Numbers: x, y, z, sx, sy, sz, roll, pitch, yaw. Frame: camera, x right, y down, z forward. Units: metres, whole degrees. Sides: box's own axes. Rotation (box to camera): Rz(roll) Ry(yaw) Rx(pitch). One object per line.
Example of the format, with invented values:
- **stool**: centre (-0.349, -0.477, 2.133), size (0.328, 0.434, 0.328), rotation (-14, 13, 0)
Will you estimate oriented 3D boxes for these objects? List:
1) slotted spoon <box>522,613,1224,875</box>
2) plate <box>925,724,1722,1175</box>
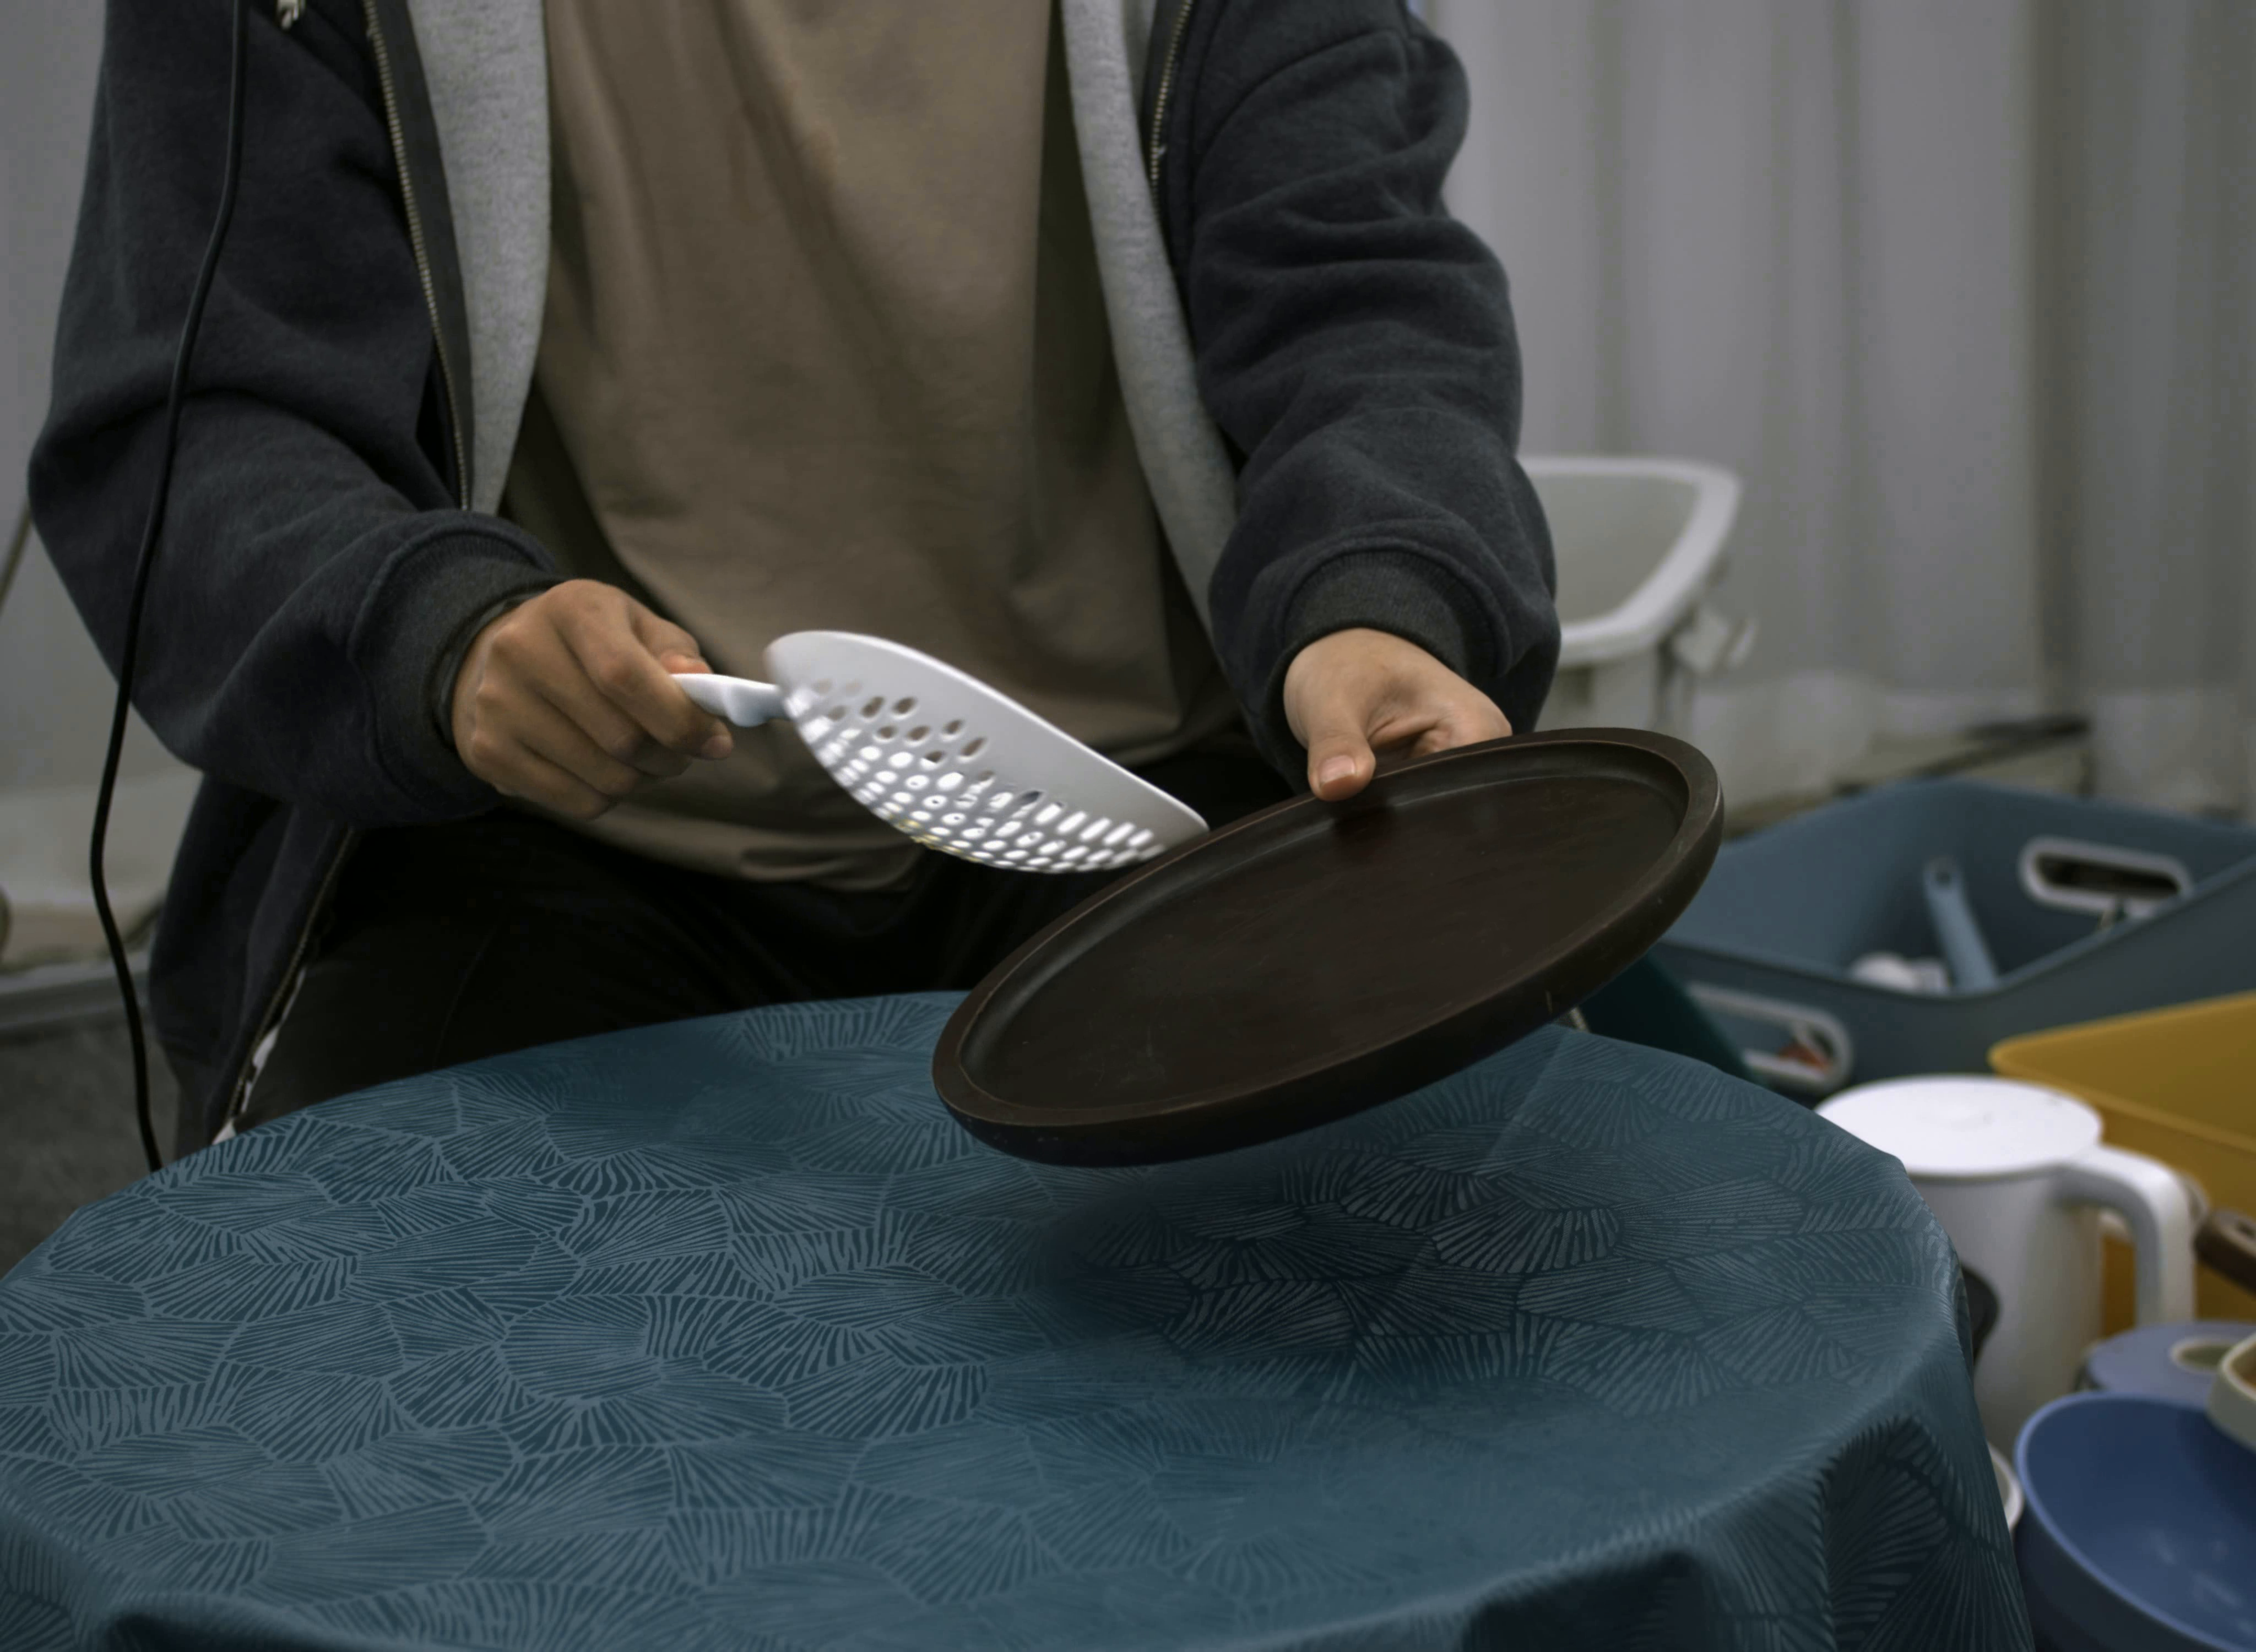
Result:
- **slotted spoon**: centre (-0.098, -0.028, 1.708), size (0.135, 0.050, 0.350), rotation (33, -8, -30)
- **plate**: centre (0.060, 0.037, 1.637), size (0.254, 0.029, 0.257), rotation (-21, 17, 6)
